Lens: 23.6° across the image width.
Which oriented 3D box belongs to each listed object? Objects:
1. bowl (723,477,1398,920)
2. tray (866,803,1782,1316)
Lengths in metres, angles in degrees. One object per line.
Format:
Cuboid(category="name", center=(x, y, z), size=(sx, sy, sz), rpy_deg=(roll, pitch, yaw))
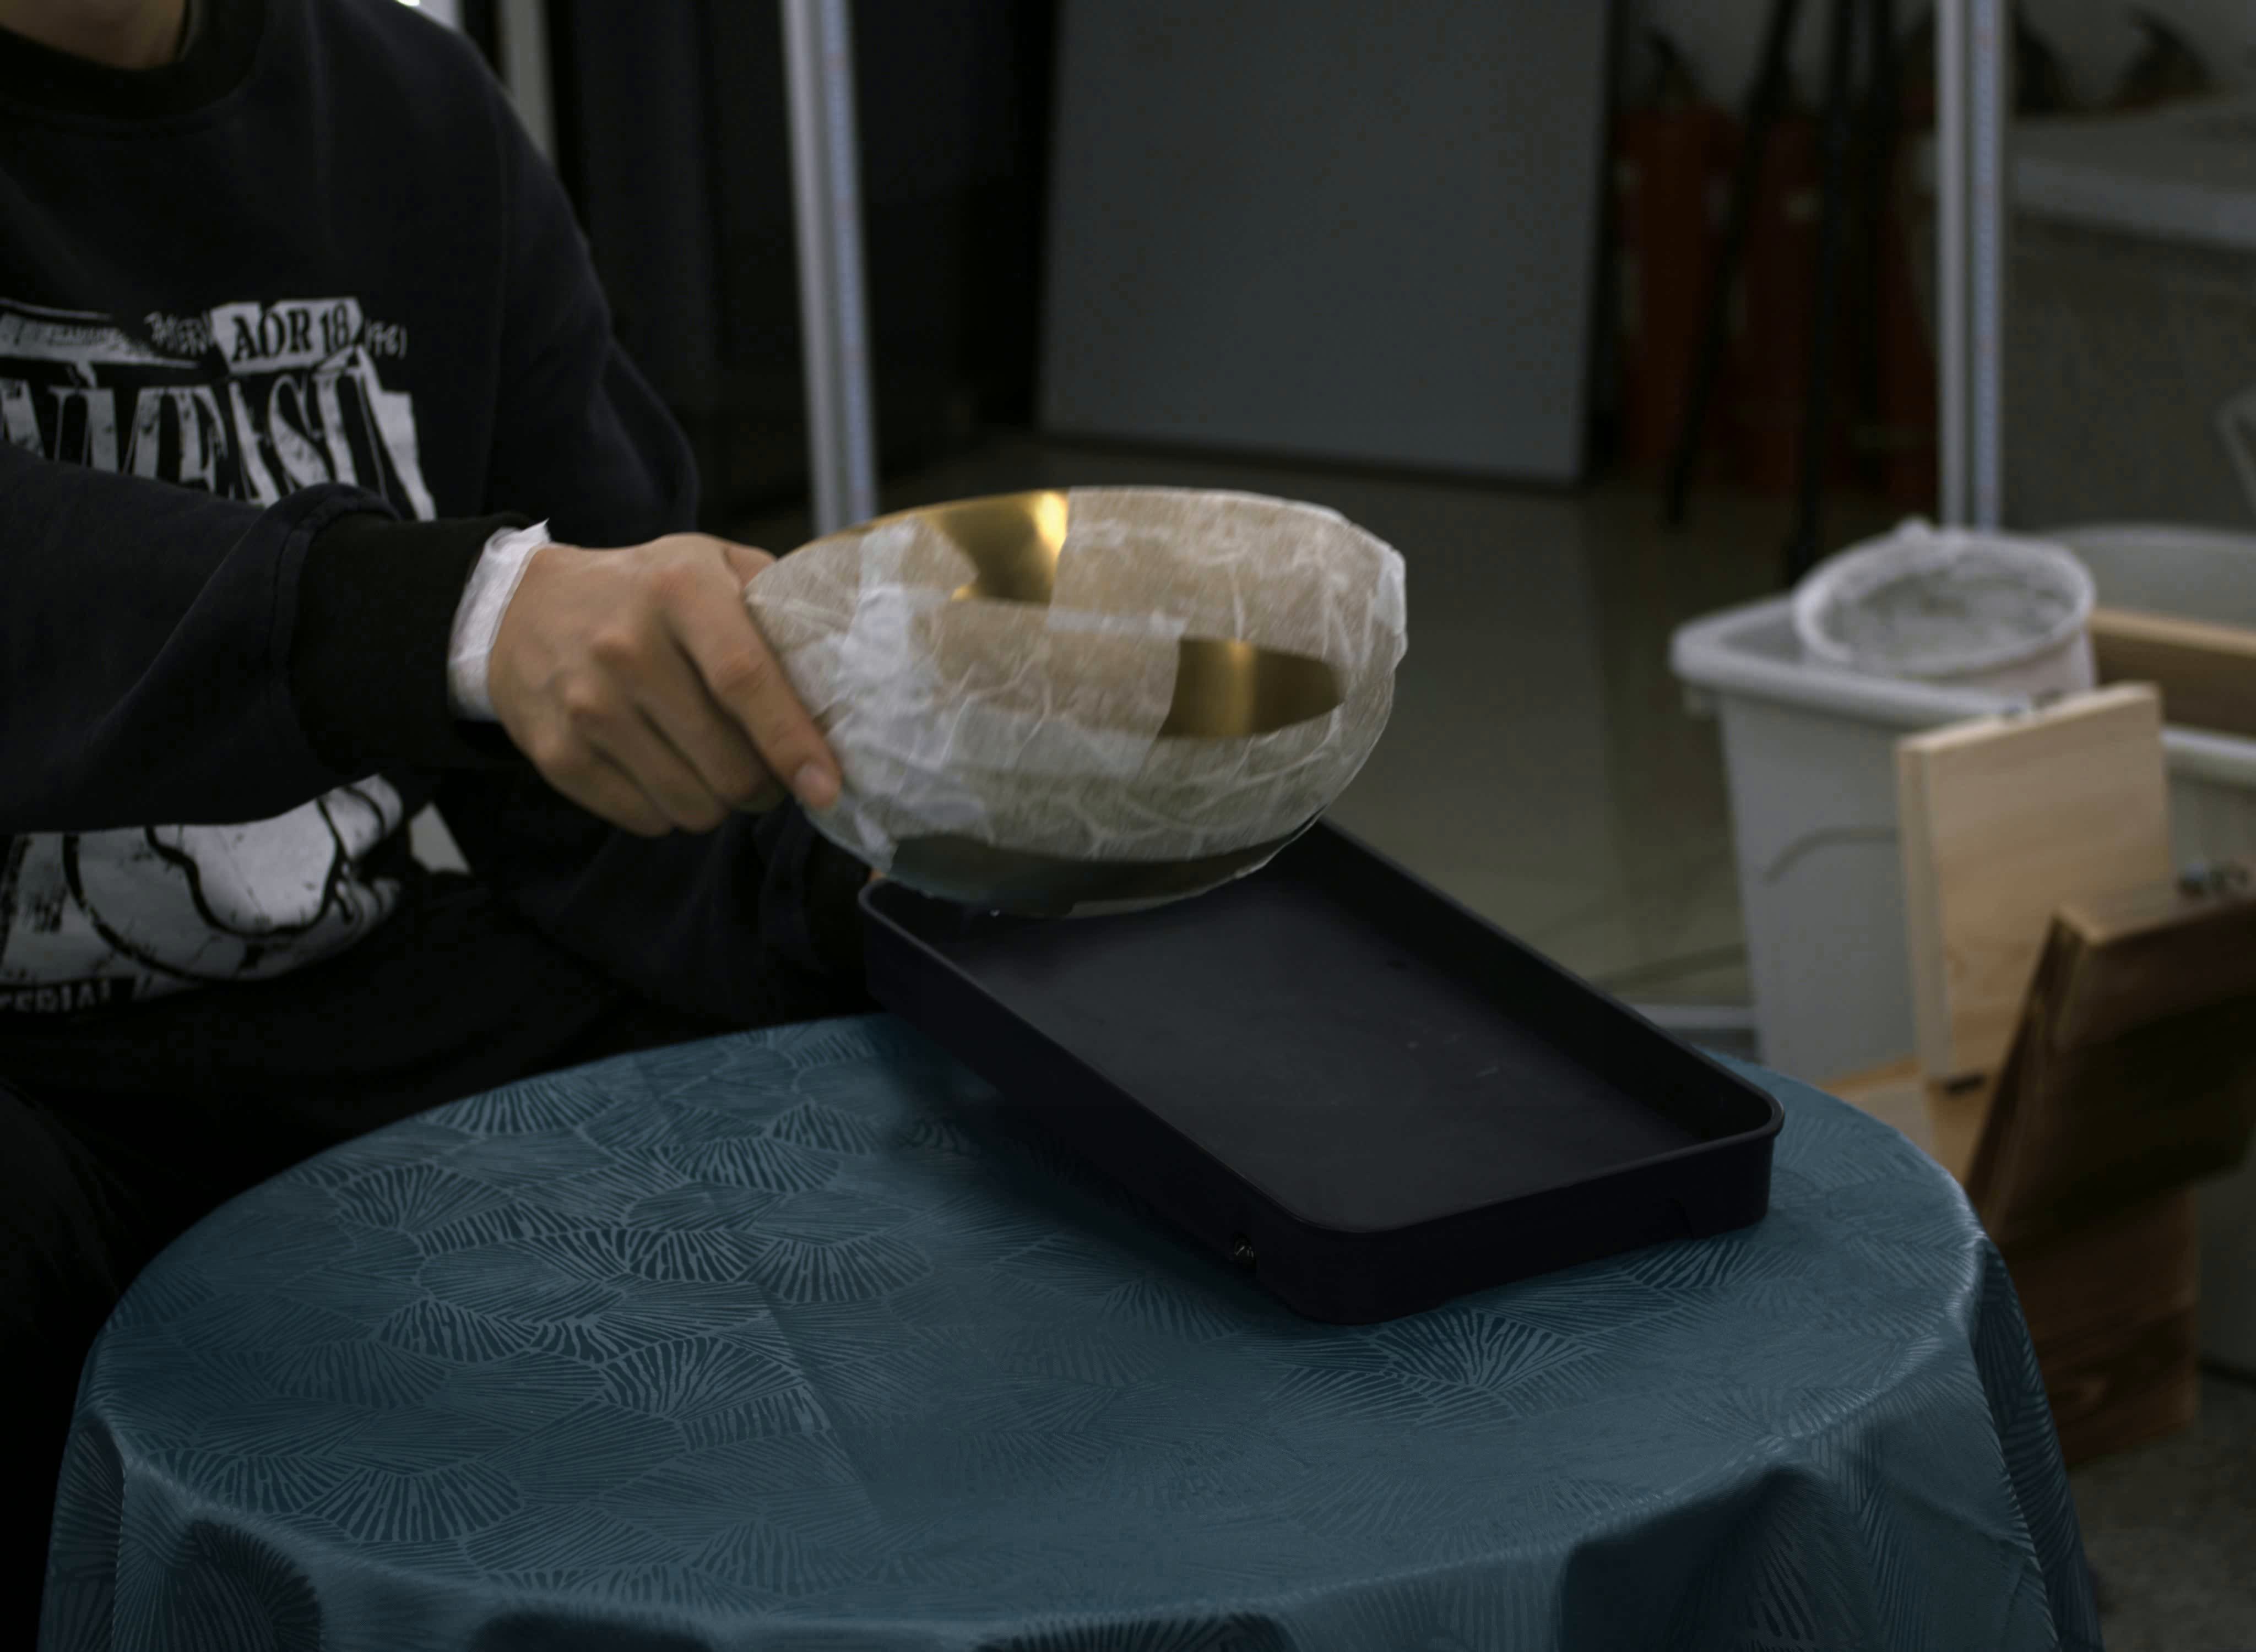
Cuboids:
Cuboid(category="bowl", center=(-0.019, -0.025, 1.585), size=(0.212, 0.096, 0.215), rpy_deg=(-4, -15, -2))
Cuboid(category="tray", center=(0.058, 0.069, 1.778), size=(0.180, 0.037, 0.321), rpy_deg=(-14, 24, -26))
